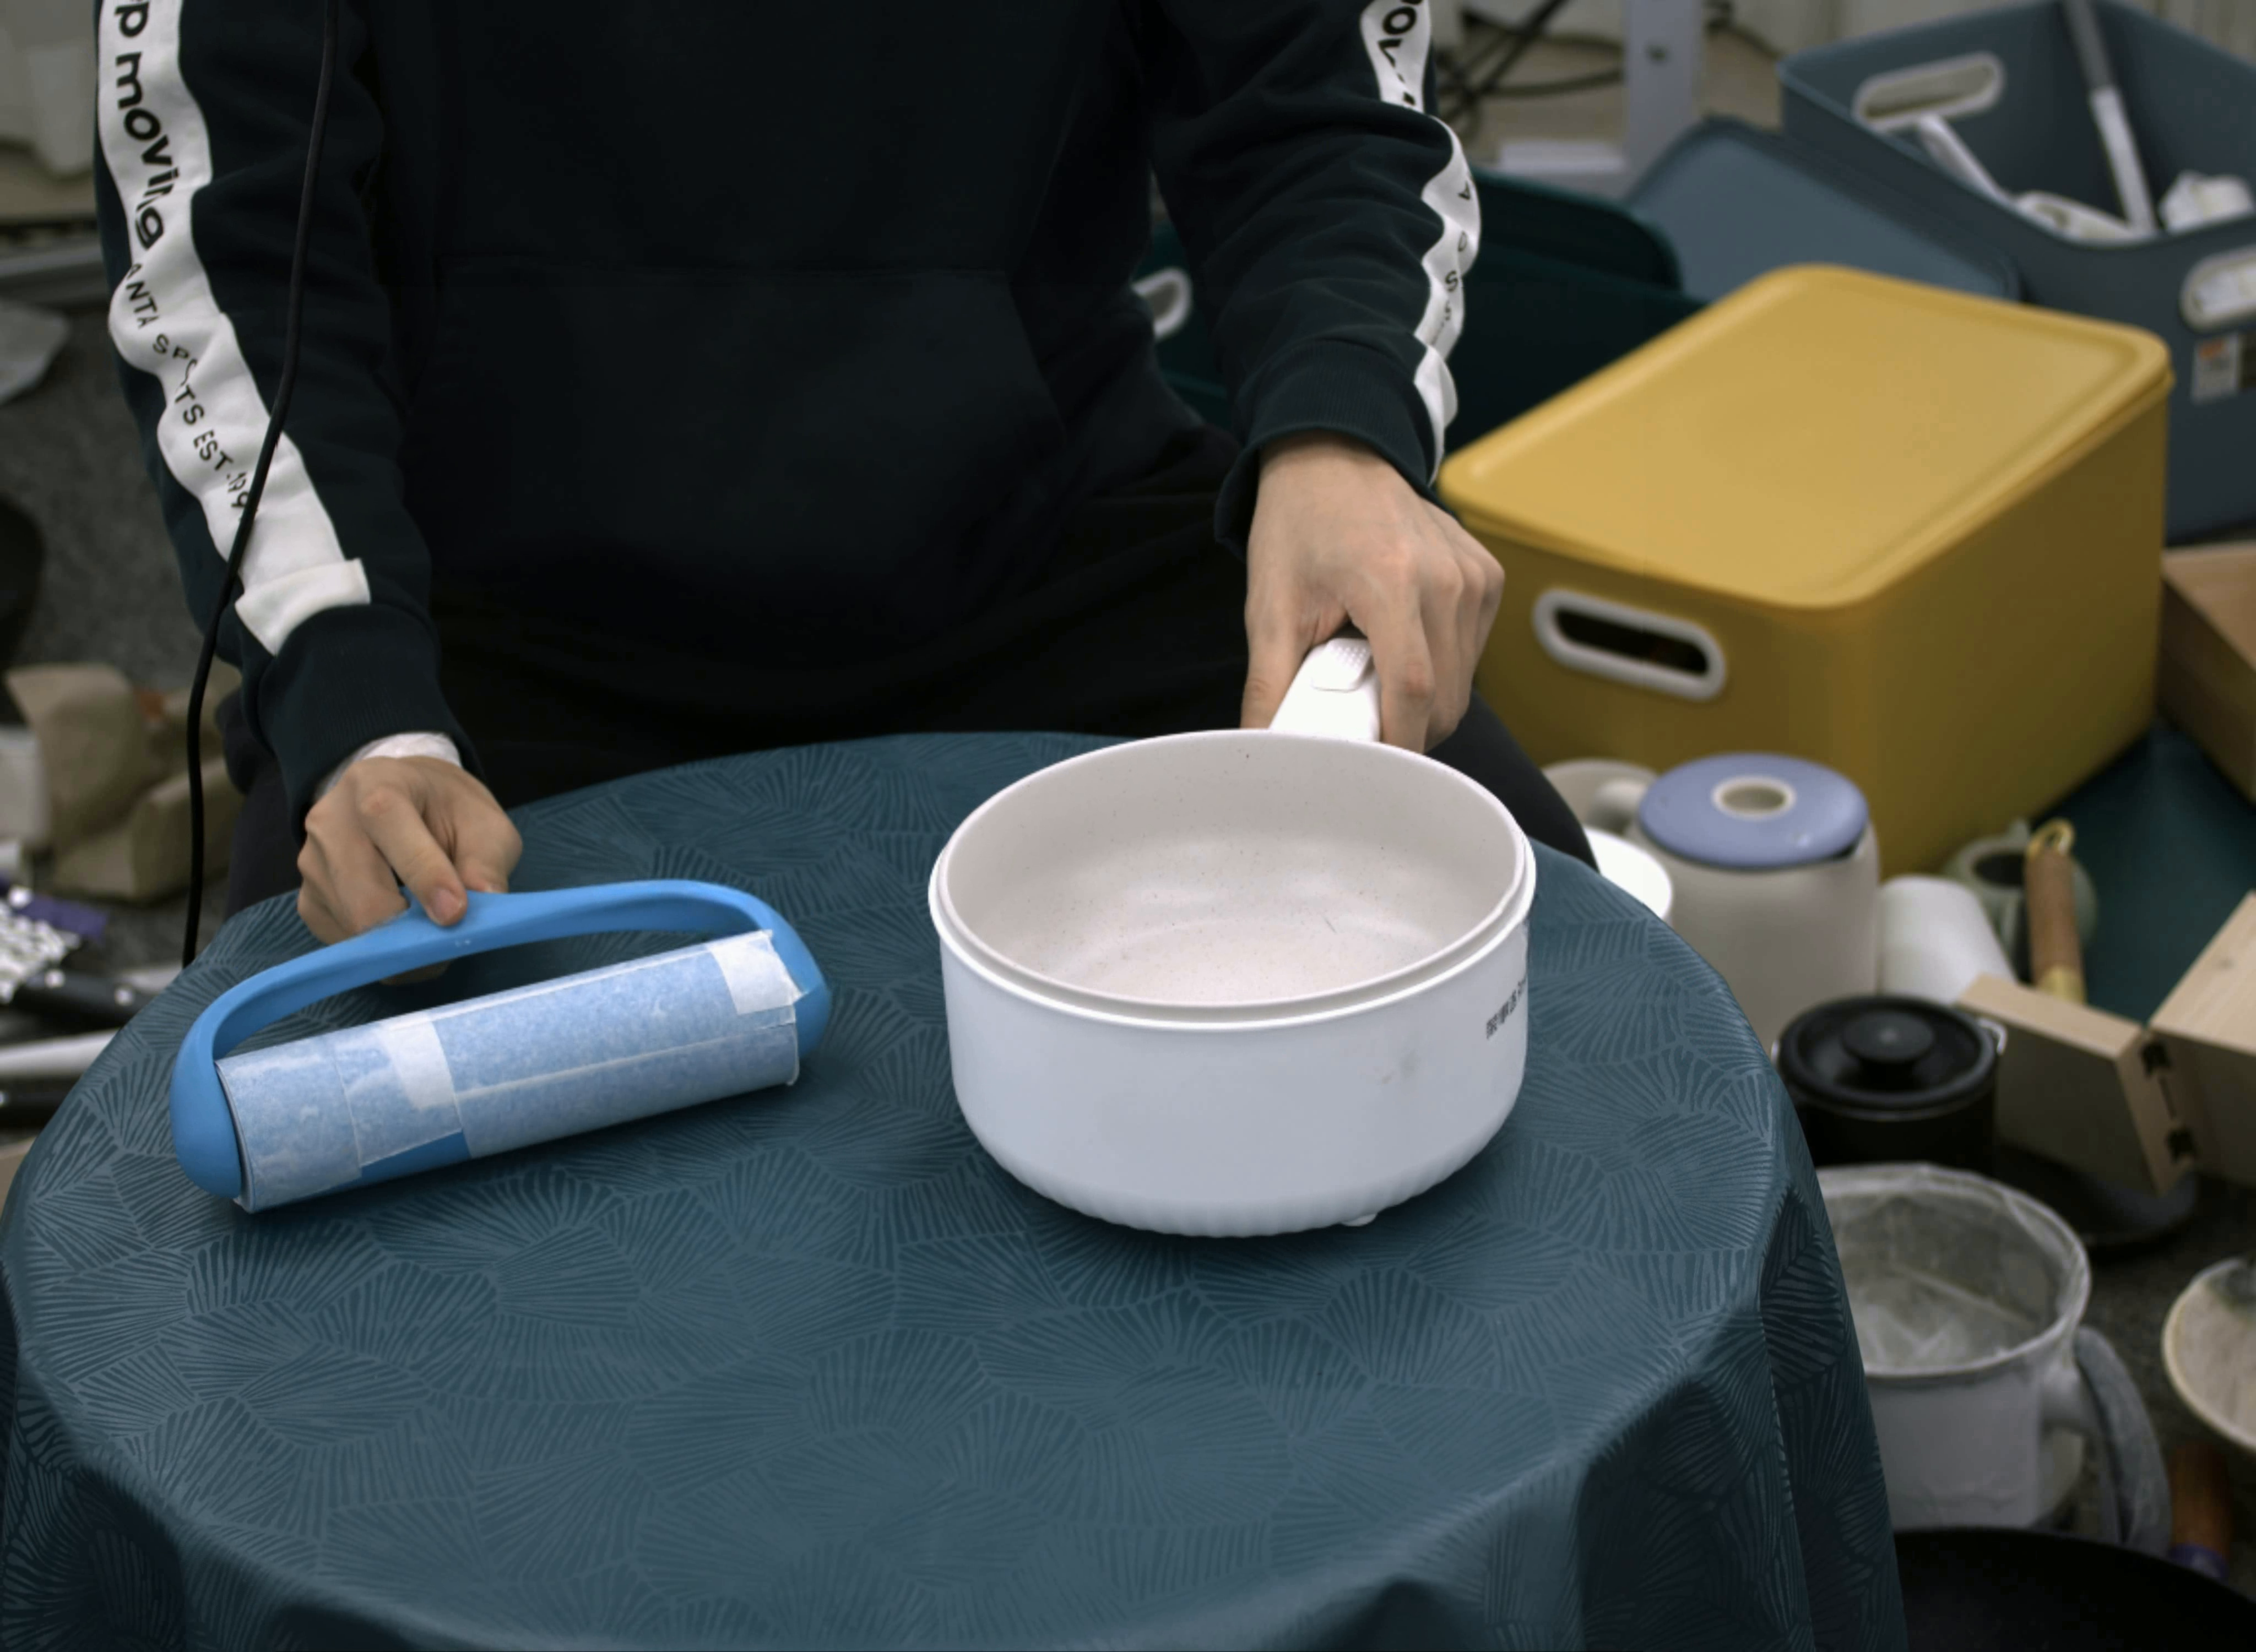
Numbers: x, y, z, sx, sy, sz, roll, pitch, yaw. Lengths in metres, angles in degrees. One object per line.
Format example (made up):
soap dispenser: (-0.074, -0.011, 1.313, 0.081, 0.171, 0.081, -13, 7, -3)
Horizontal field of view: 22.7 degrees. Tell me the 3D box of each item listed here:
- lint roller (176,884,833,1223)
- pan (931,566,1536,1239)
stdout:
lint roller: (-0.233, 0.057, 1.941, 0.230, 0.067, 0.181, -16, 33, -20)
pan: (0.058, 0.023, 1.940, 0.200, 0.101, 0.361, 4, 26, 15)
